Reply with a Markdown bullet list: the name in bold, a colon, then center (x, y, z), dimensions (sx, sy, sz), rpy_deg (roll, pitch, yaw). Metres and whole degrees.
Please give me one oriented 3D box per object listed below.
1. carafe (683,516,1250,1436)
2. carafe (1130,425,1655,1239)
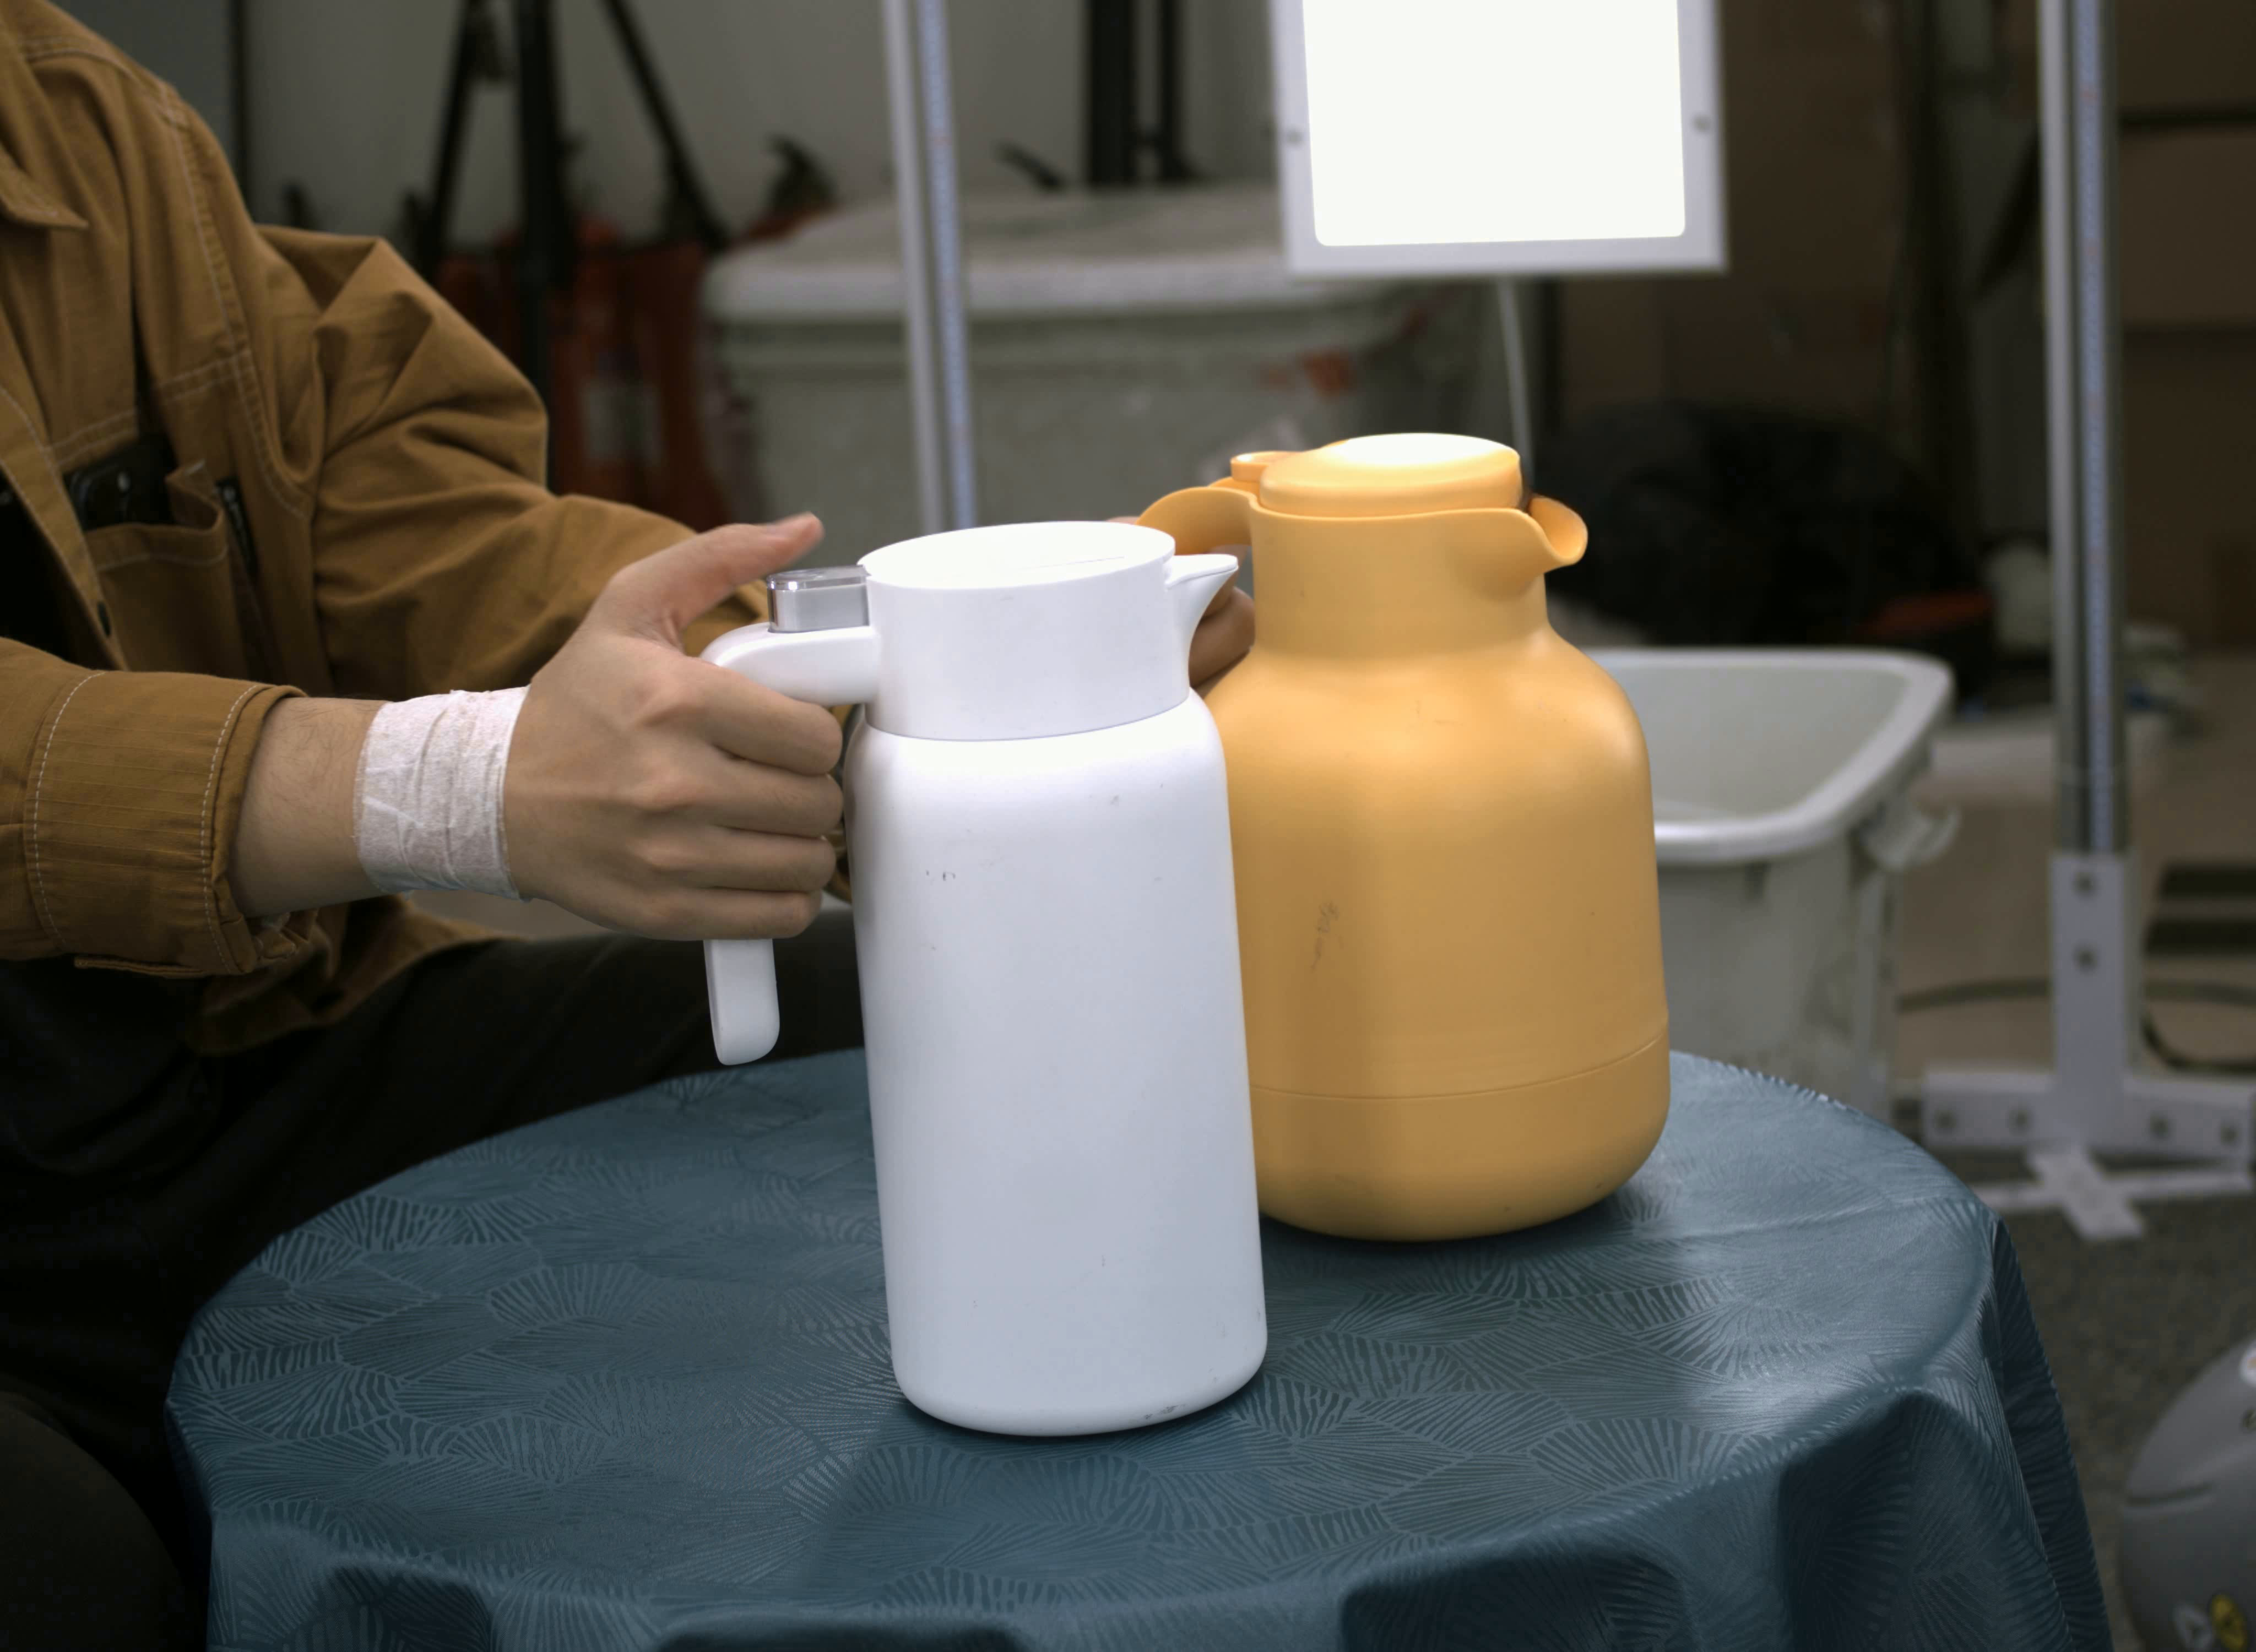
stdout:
- **carafe**: center (-0.043, 0.046, 1.679), dimensions (0.171, 0.270, 0.124), rpy_deg (-6, 16, -7)
- **carafe**: center (0.081, -0.005, 1.849), dimensions (0.159, 0.261, 0.207), rpy_deg (-14, 18, -43)
